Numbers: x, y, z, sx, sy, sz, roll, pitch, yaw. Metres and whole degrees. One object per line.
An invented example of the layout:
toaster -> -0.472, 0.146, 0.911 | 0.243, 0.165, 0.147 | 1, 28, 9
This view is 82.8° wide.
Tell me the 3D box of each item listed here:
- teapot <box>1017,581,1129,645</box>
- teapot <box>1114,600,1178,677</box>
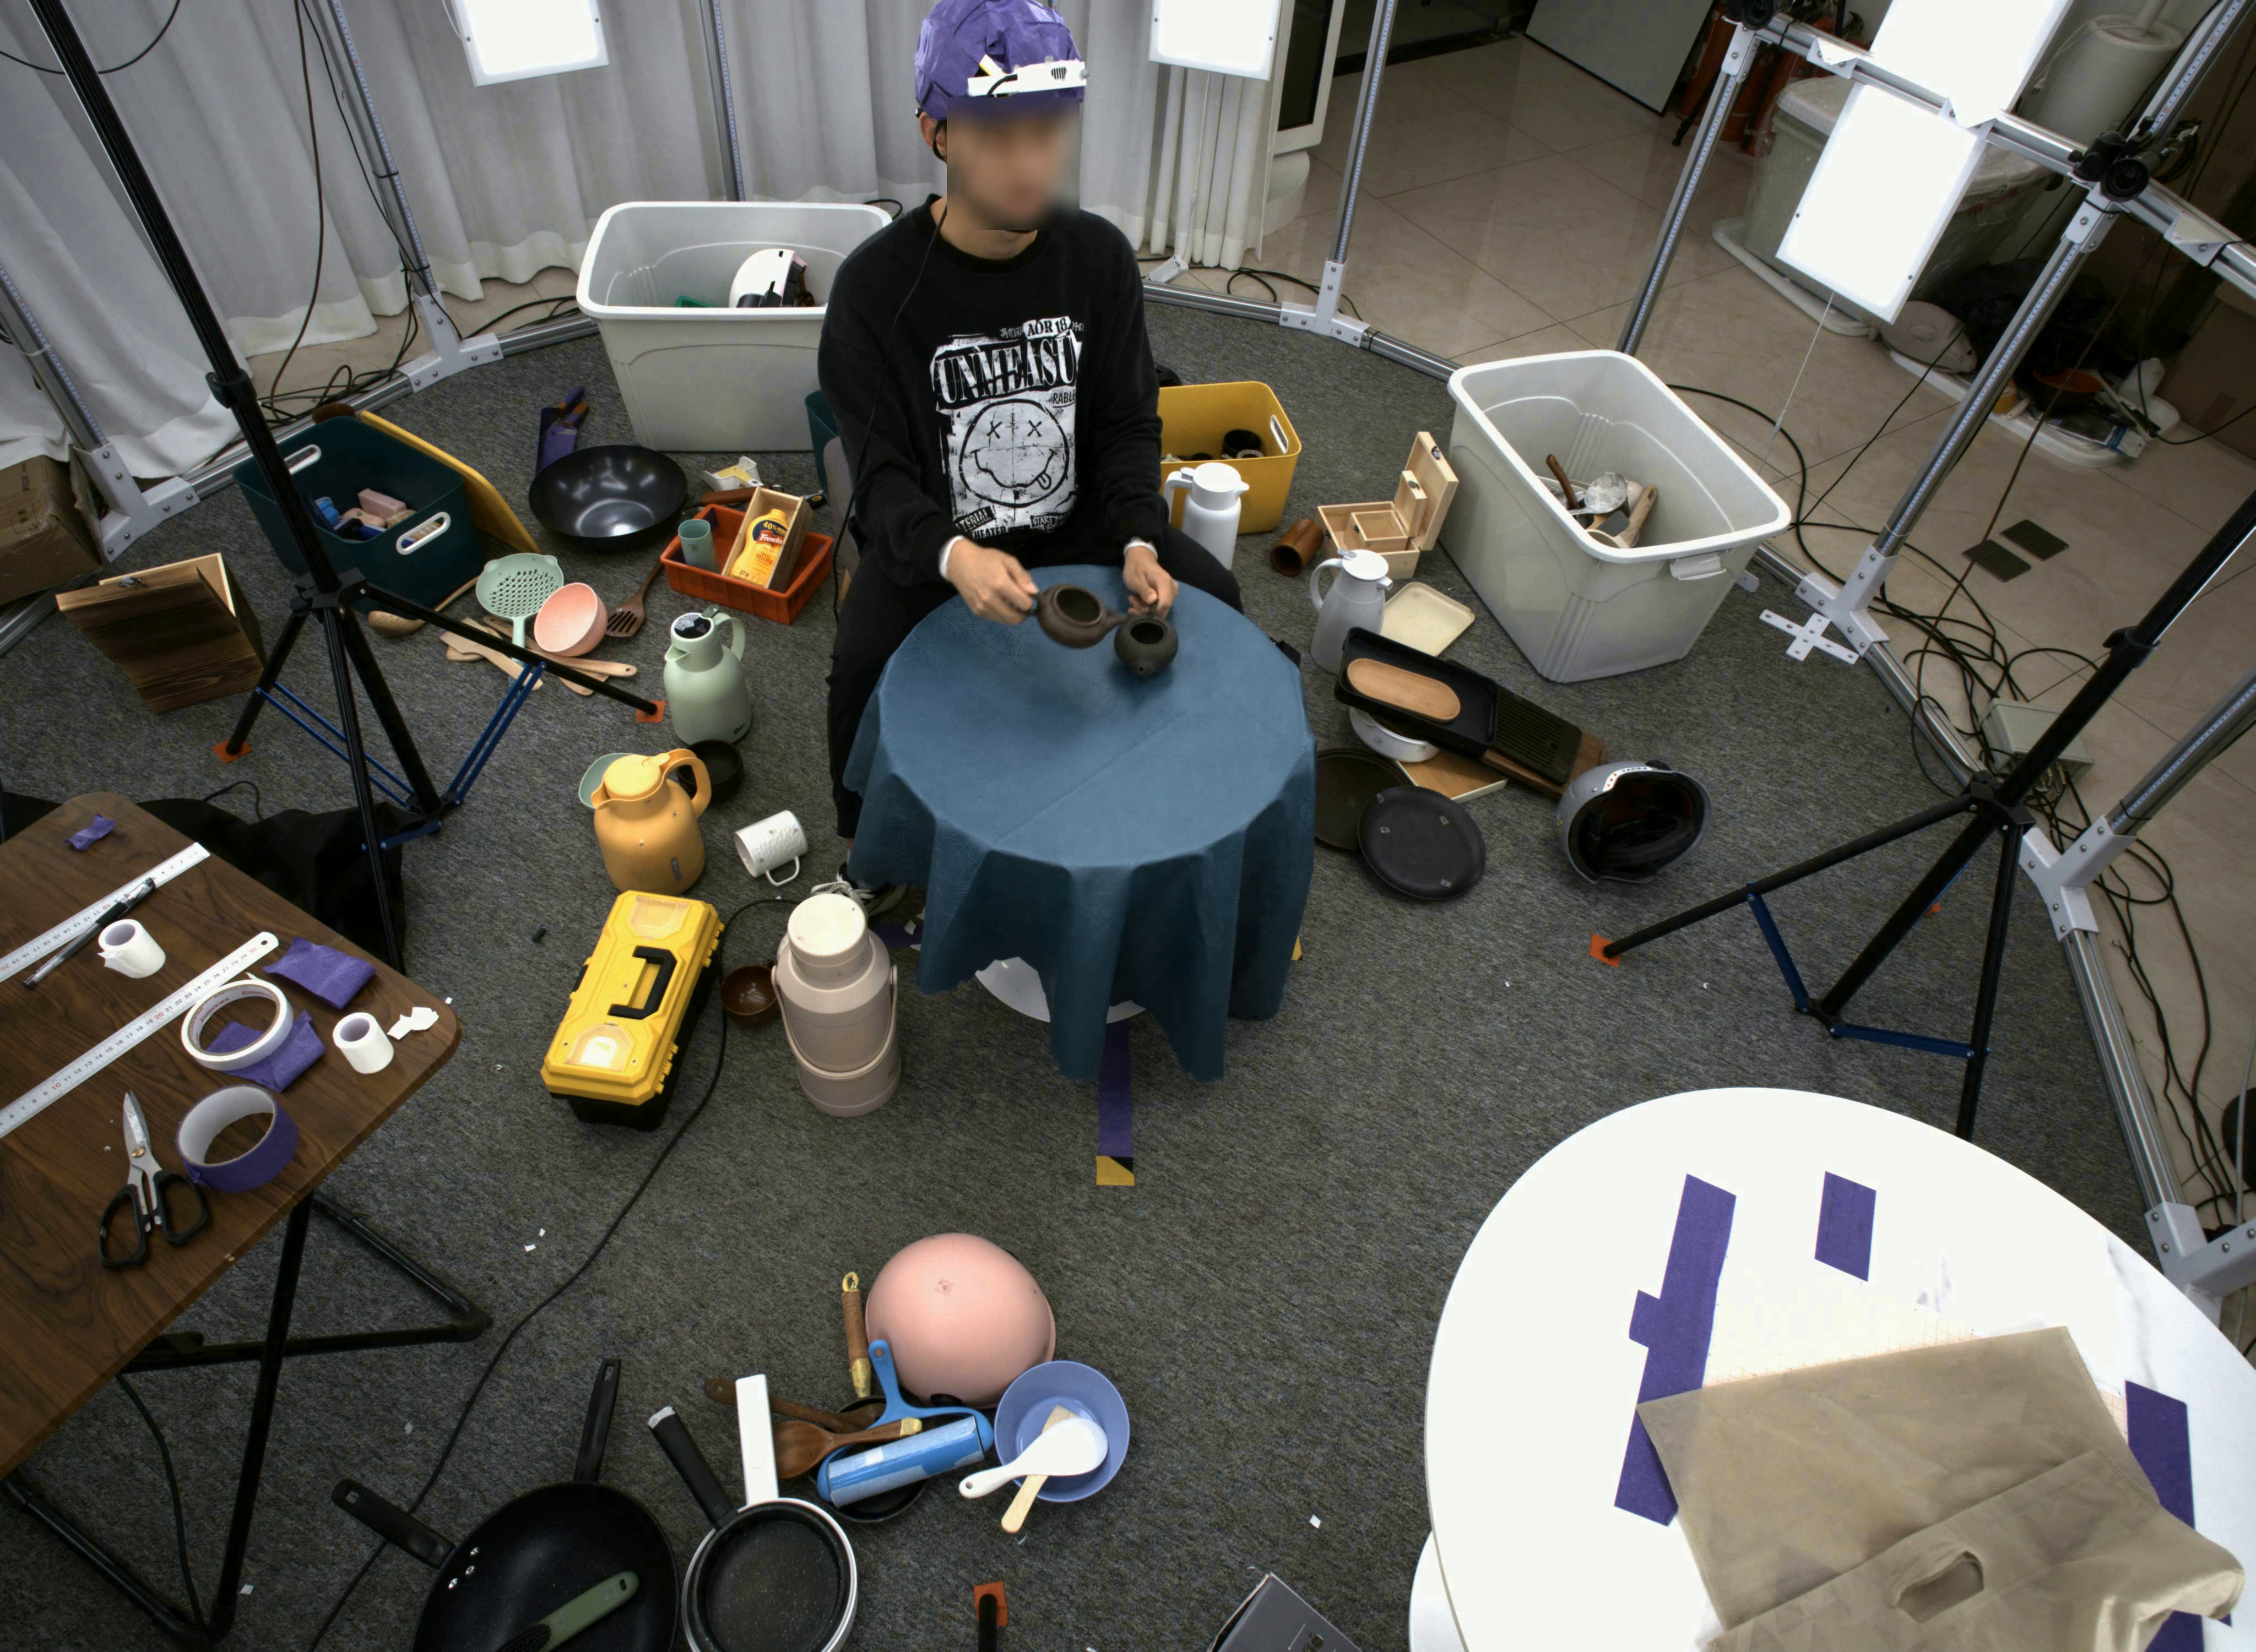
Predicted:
teapot -> -0.077, -0.292, 1.749 | 0.152, 0.053, 0.105 | 11, 49, -18
teapot -> 0.027, -0.266, 1.858 | 0.092, 0.063, 0.158 | 11, 52, 1
